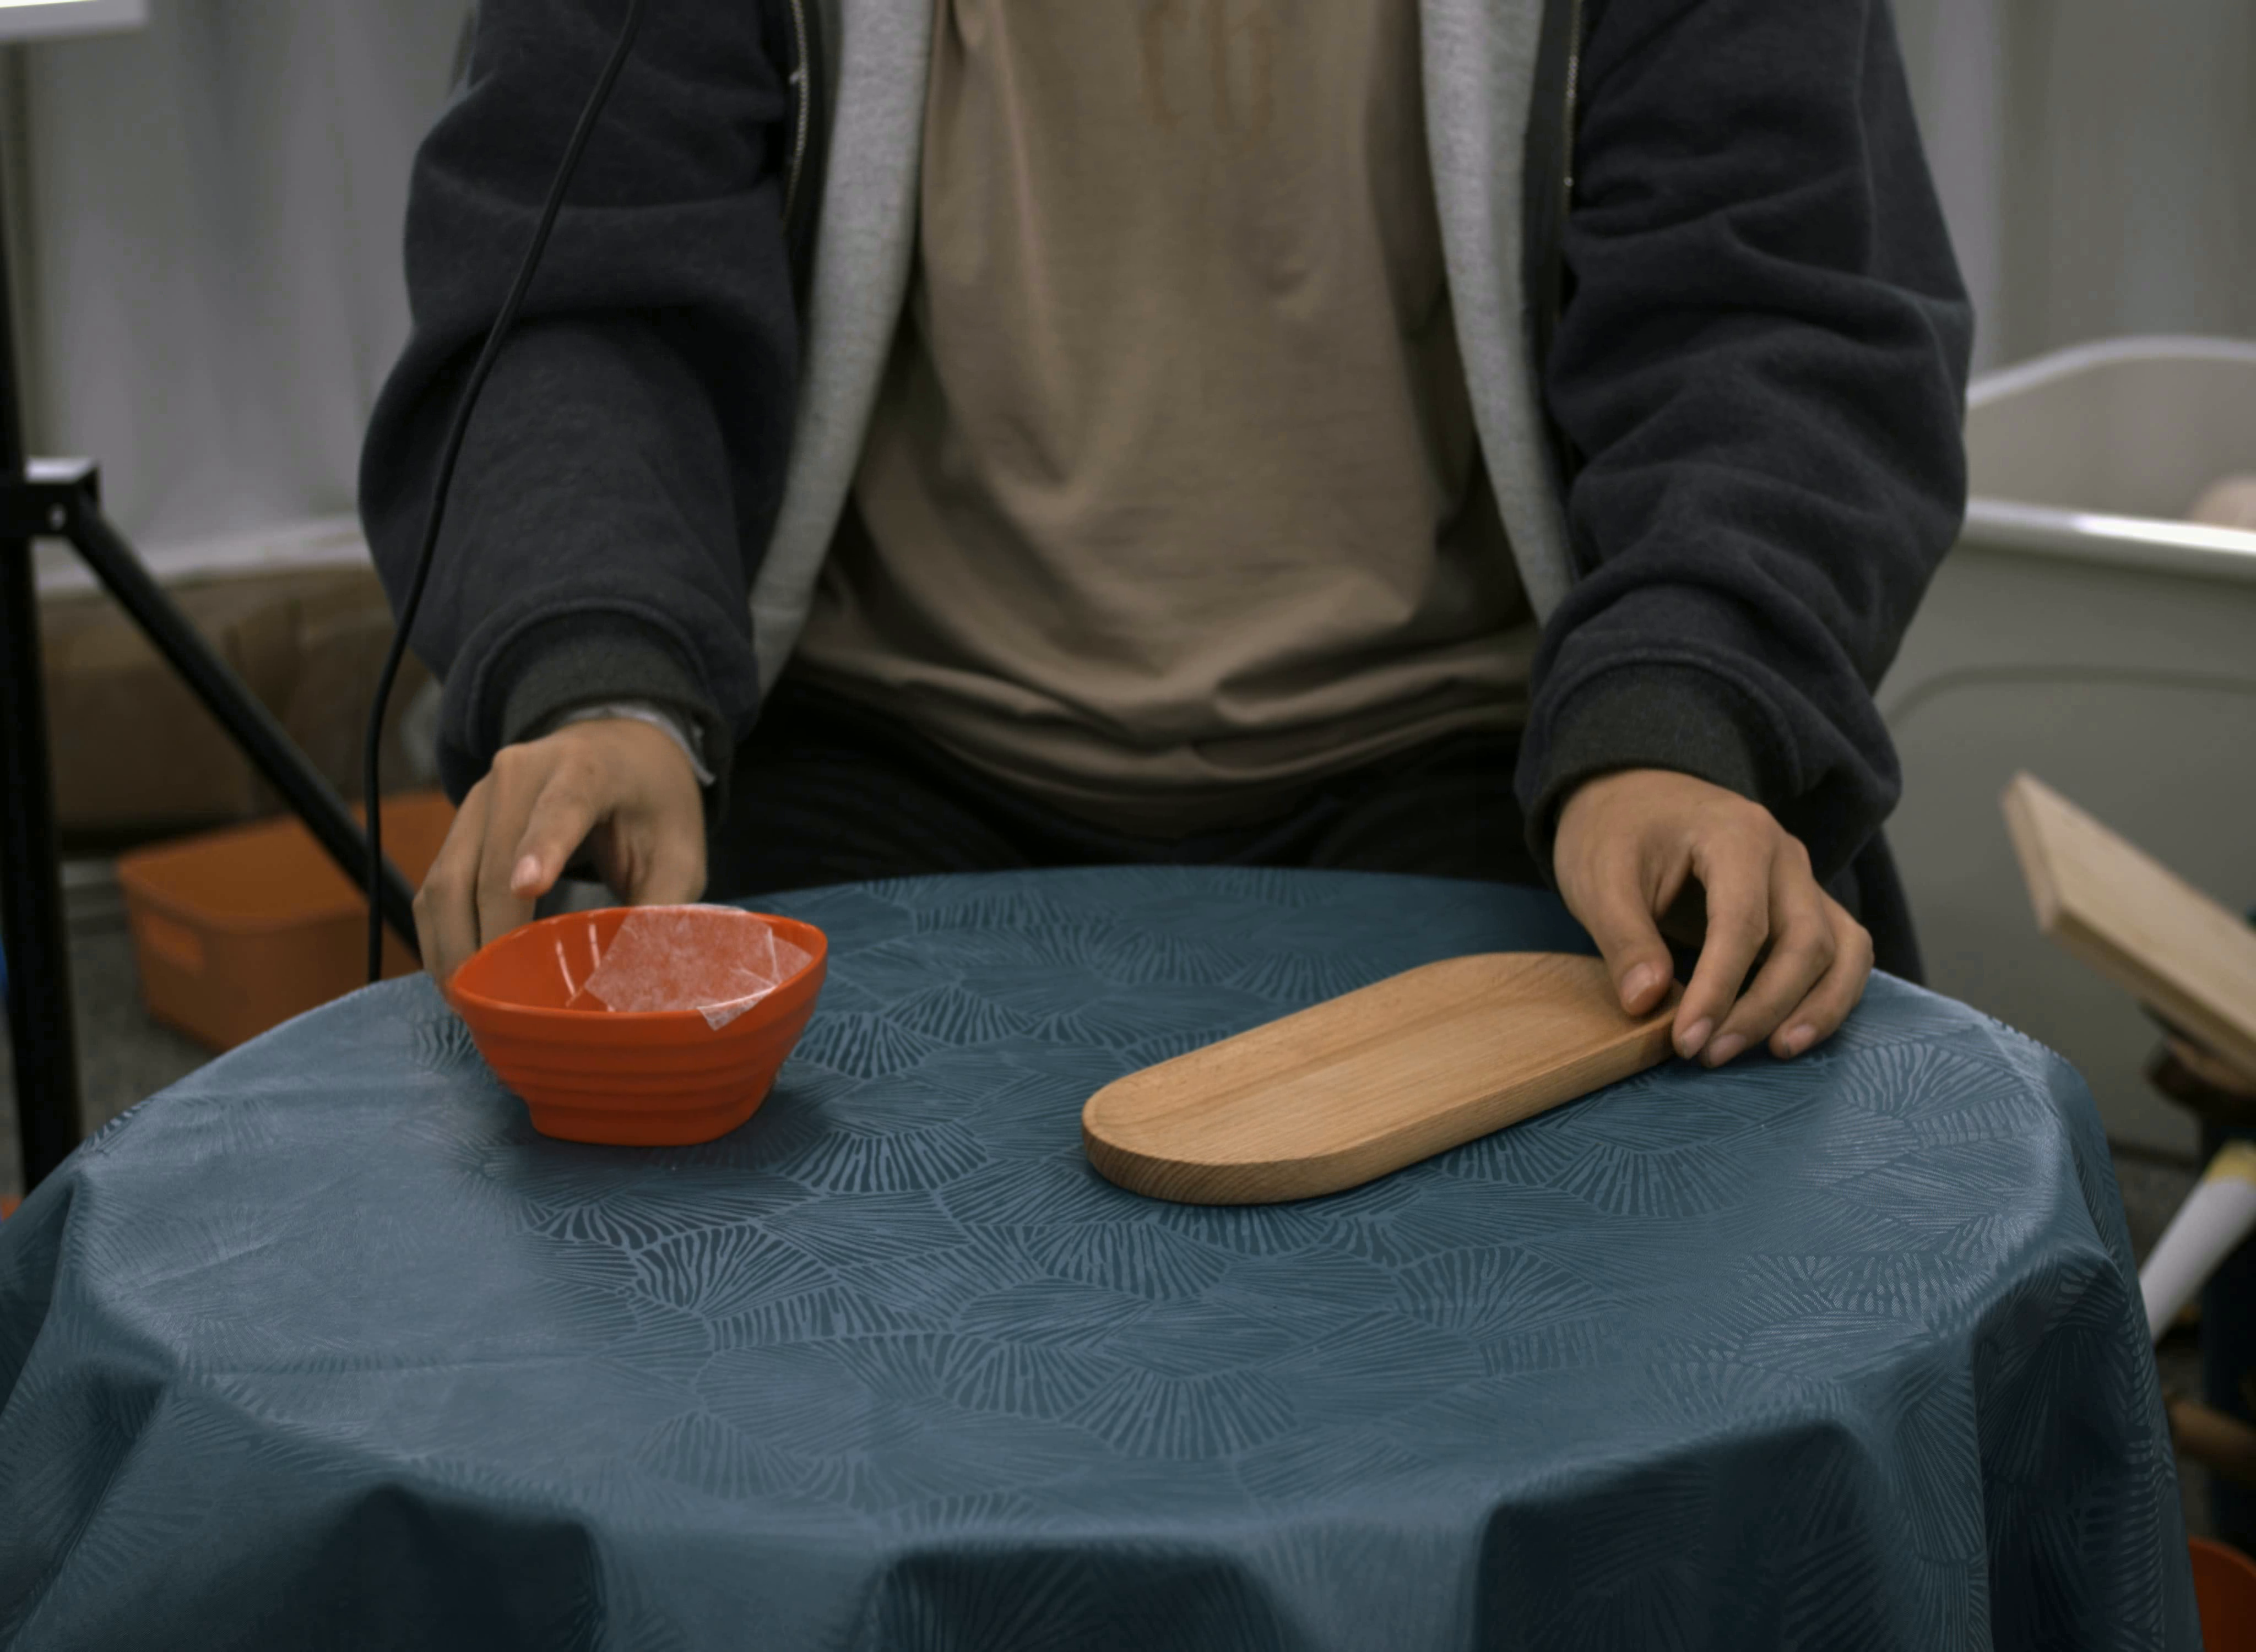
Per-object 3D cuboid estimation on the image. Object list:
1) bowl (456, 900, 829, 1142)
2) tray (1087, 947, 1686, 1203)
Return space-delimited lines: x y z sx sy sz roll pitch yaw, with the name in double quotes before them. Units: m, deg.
"bowl" -0.148 0.062 1.648 0.118 0.051 0.119 -4 16 0
"tray" 0.082 0.075 1.631 0.104 0.020 0.226 13 21 42
